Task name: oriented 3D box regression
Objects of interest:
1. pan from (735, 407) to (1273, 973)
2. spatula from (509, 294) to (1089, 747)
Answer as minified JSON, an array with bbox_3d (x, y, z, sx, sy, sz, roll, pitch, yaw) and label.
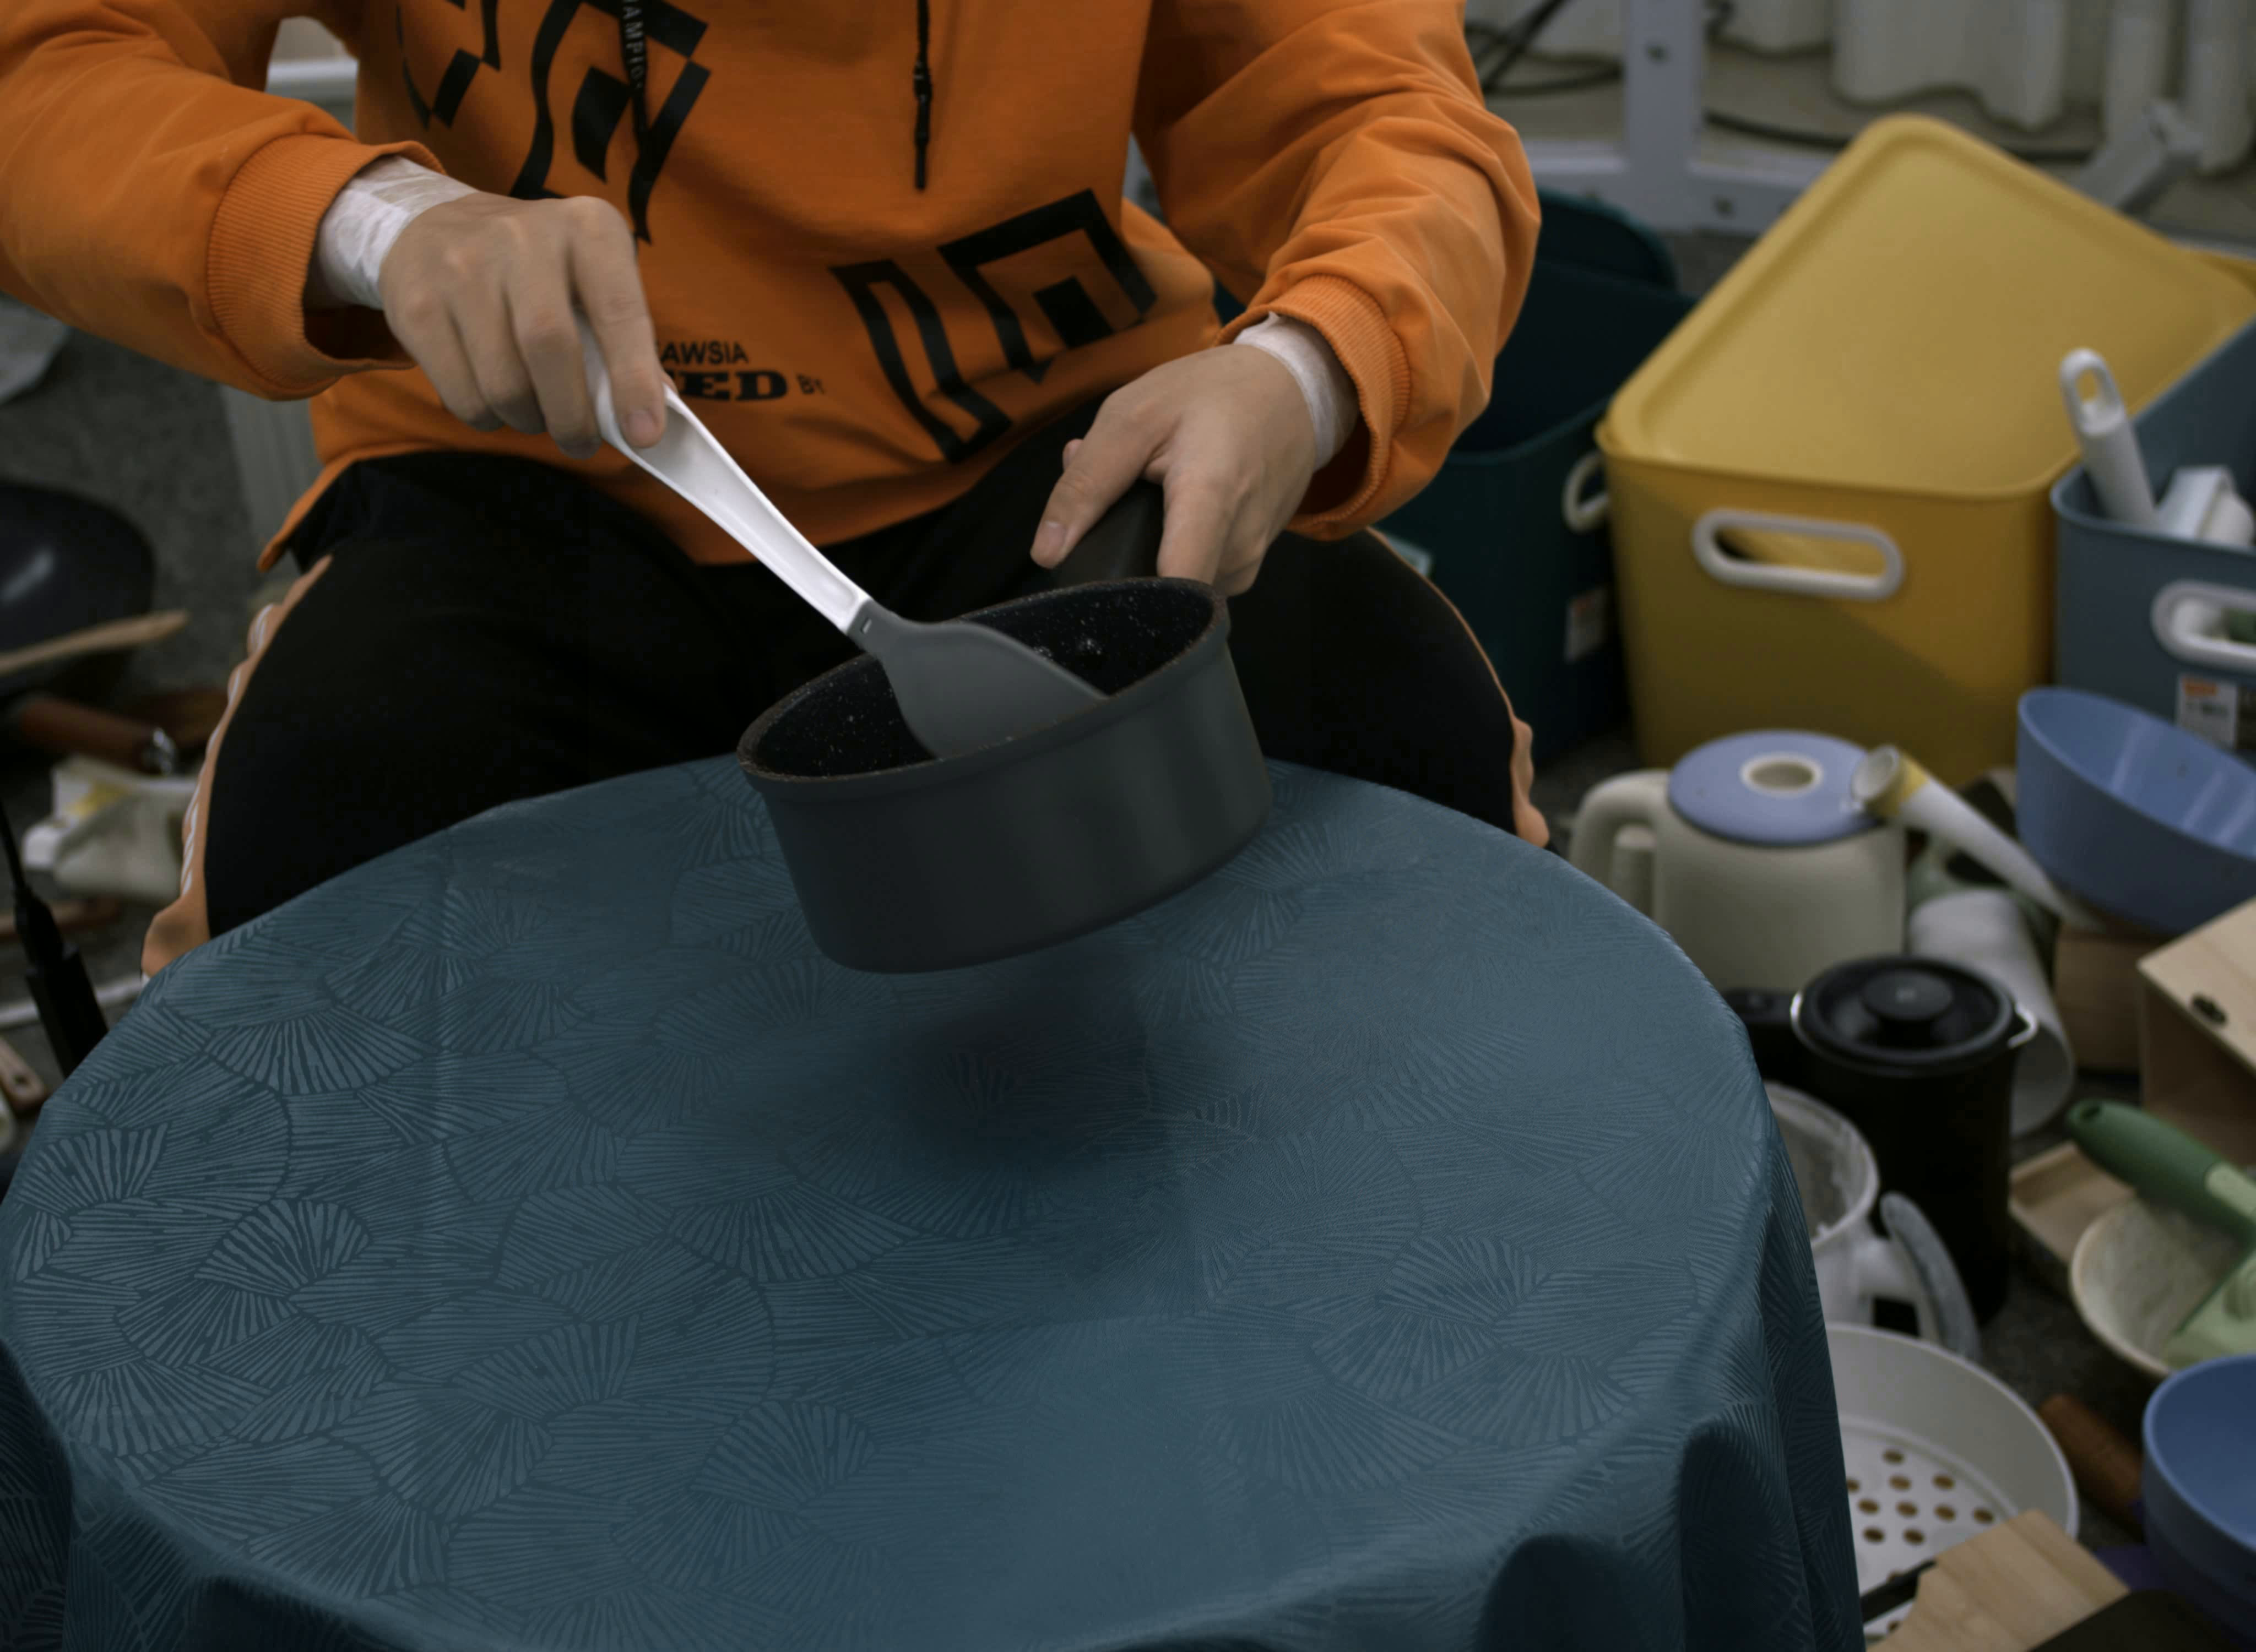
[{"bbox_3d":[-0.016,-0.051,1.952,0.170,0.086,0.334,-10,19,22],"label":"pan"},{"bbox_3d":[-0.105,-0.089,1.901,0.289,0.058,0.032,40,11,26],"label":"spatula"}]
